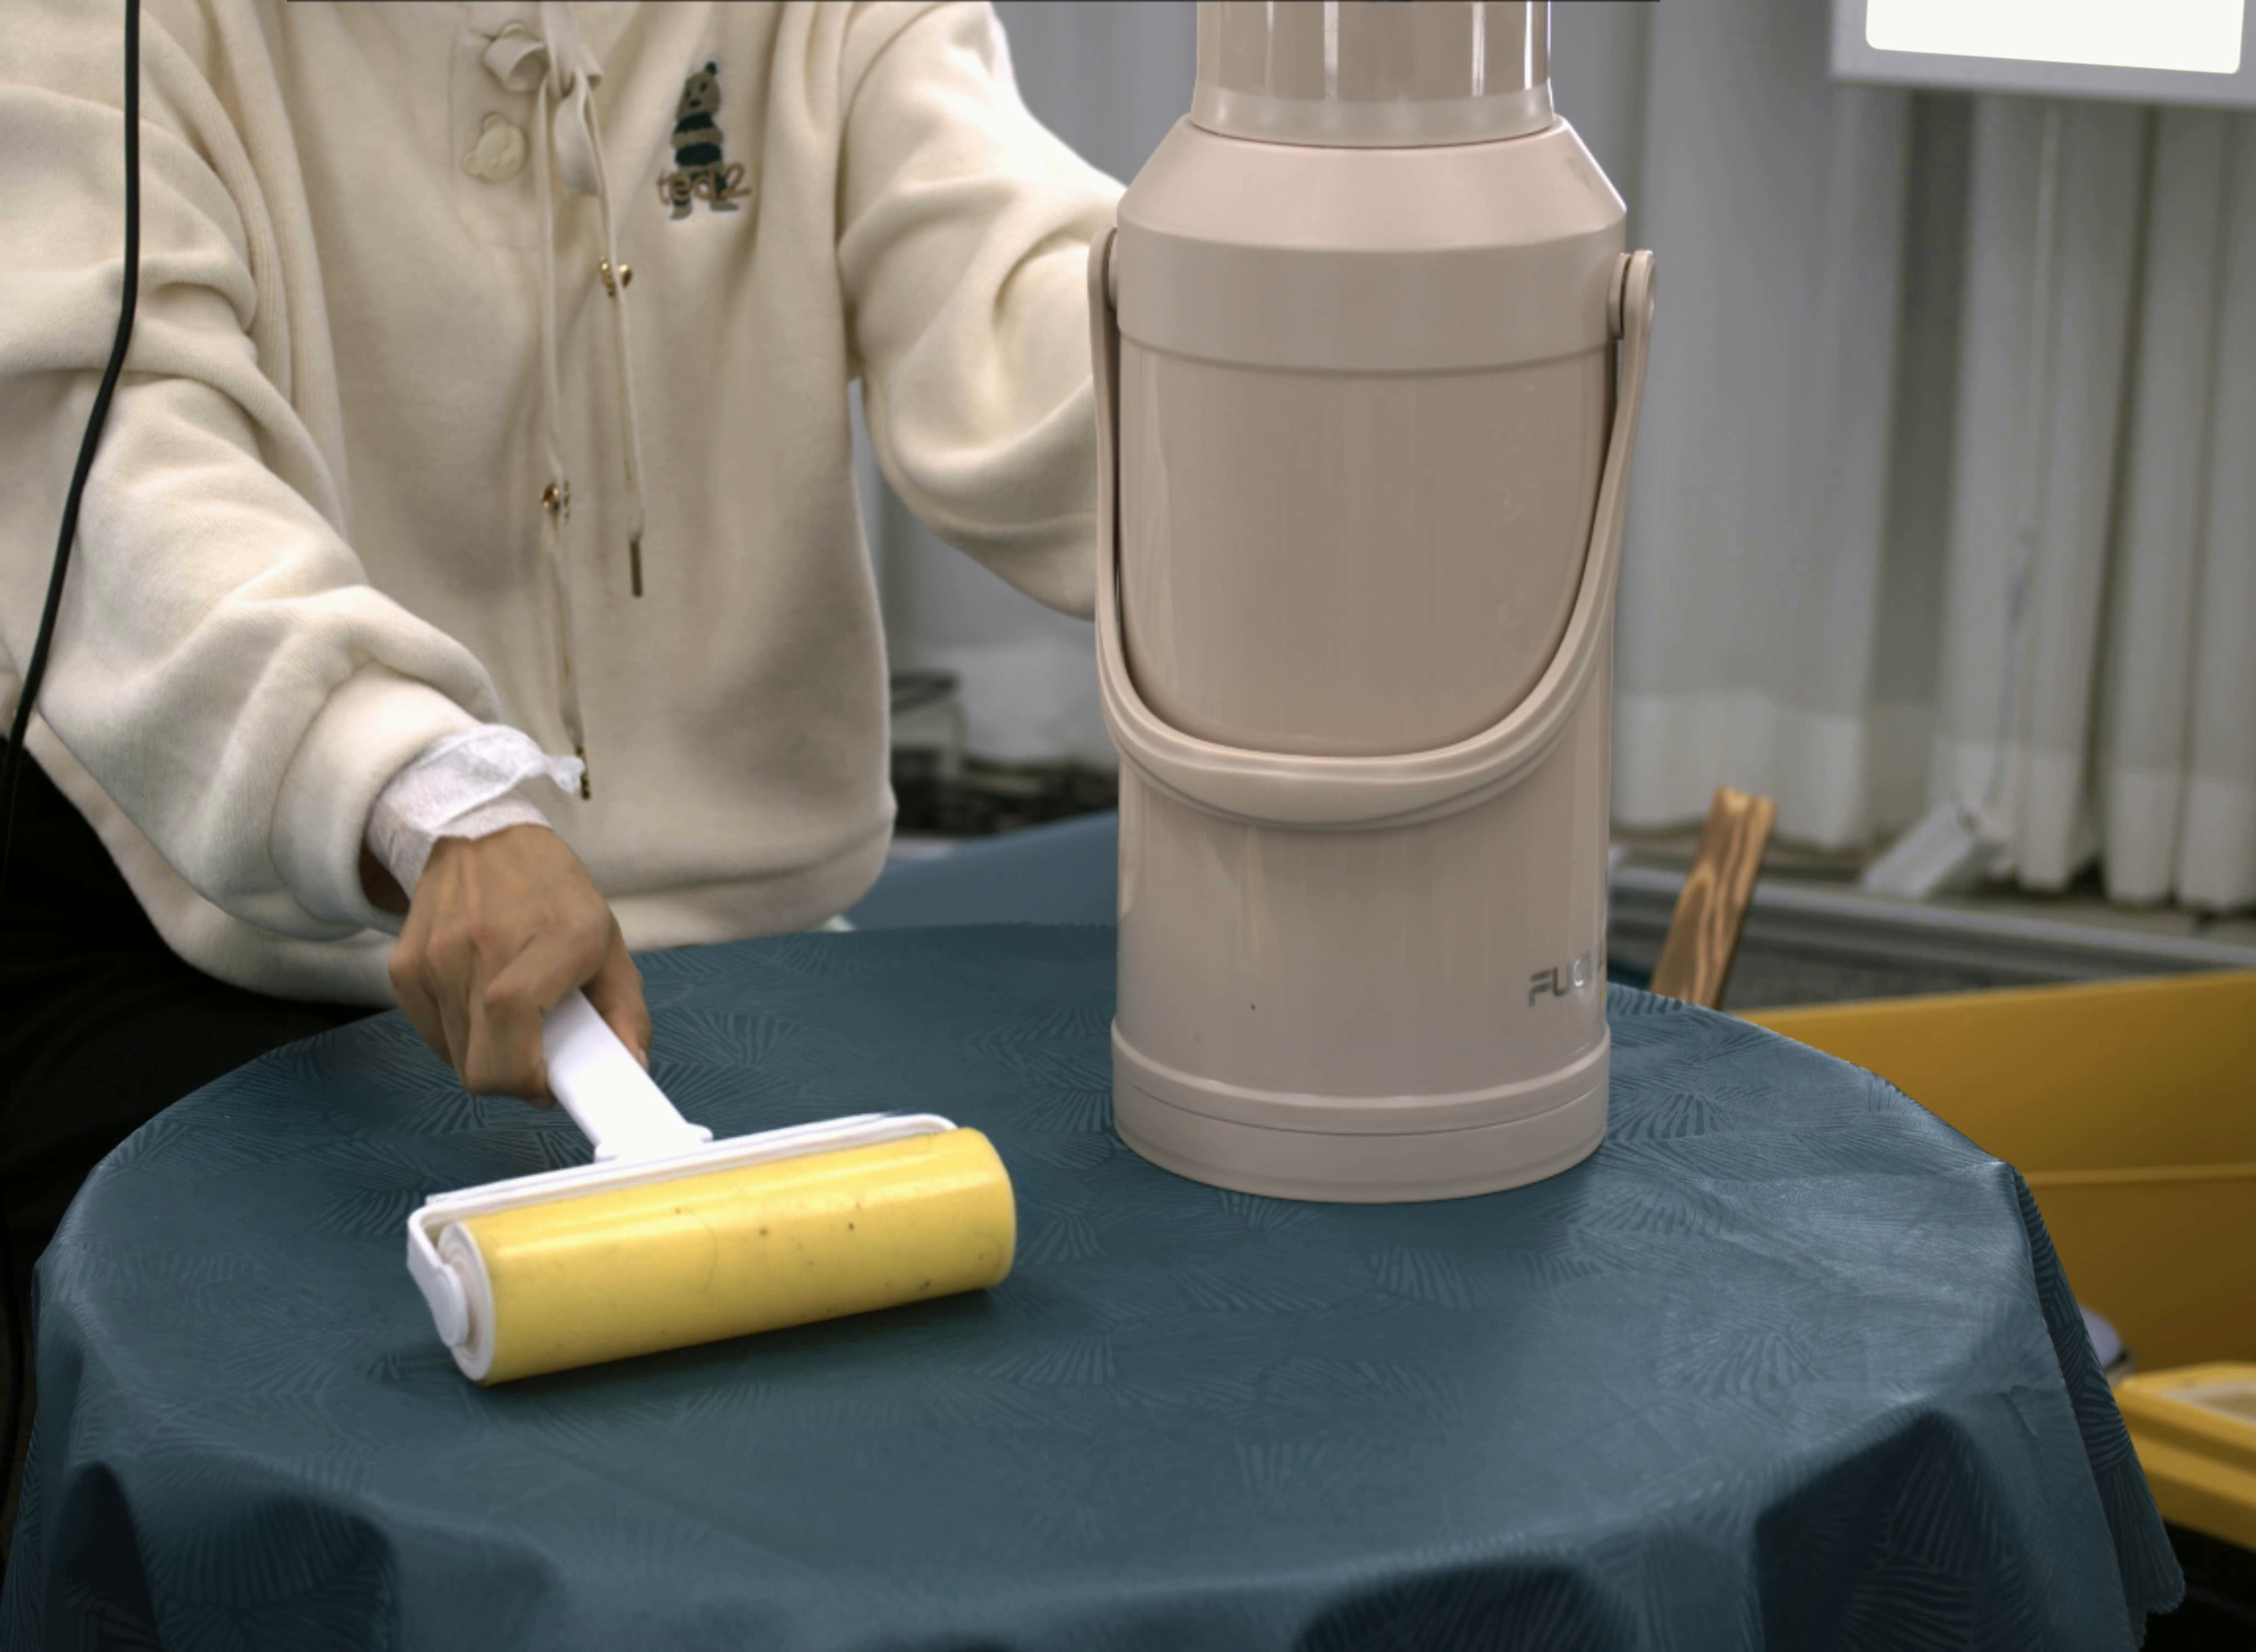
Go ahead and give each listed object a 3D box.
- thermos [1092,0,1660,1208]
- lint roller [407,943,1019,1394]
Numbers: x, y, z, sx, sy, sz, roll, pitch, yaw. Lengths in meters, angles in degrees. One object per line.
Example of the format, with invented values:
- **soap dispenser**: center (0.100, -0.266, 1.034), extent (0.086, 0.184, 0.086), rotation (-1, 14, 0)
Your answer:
- **thermos**: center (0.079, -0.099, 1.641), extent (0.174, 0.409, 0.207), rotation (4, 16, 15)
- **lint roller**: center (-0.145, 0.081, 1.538), extent (0.175, 0.052, 0.189), rotation (-9, 43, -27)
